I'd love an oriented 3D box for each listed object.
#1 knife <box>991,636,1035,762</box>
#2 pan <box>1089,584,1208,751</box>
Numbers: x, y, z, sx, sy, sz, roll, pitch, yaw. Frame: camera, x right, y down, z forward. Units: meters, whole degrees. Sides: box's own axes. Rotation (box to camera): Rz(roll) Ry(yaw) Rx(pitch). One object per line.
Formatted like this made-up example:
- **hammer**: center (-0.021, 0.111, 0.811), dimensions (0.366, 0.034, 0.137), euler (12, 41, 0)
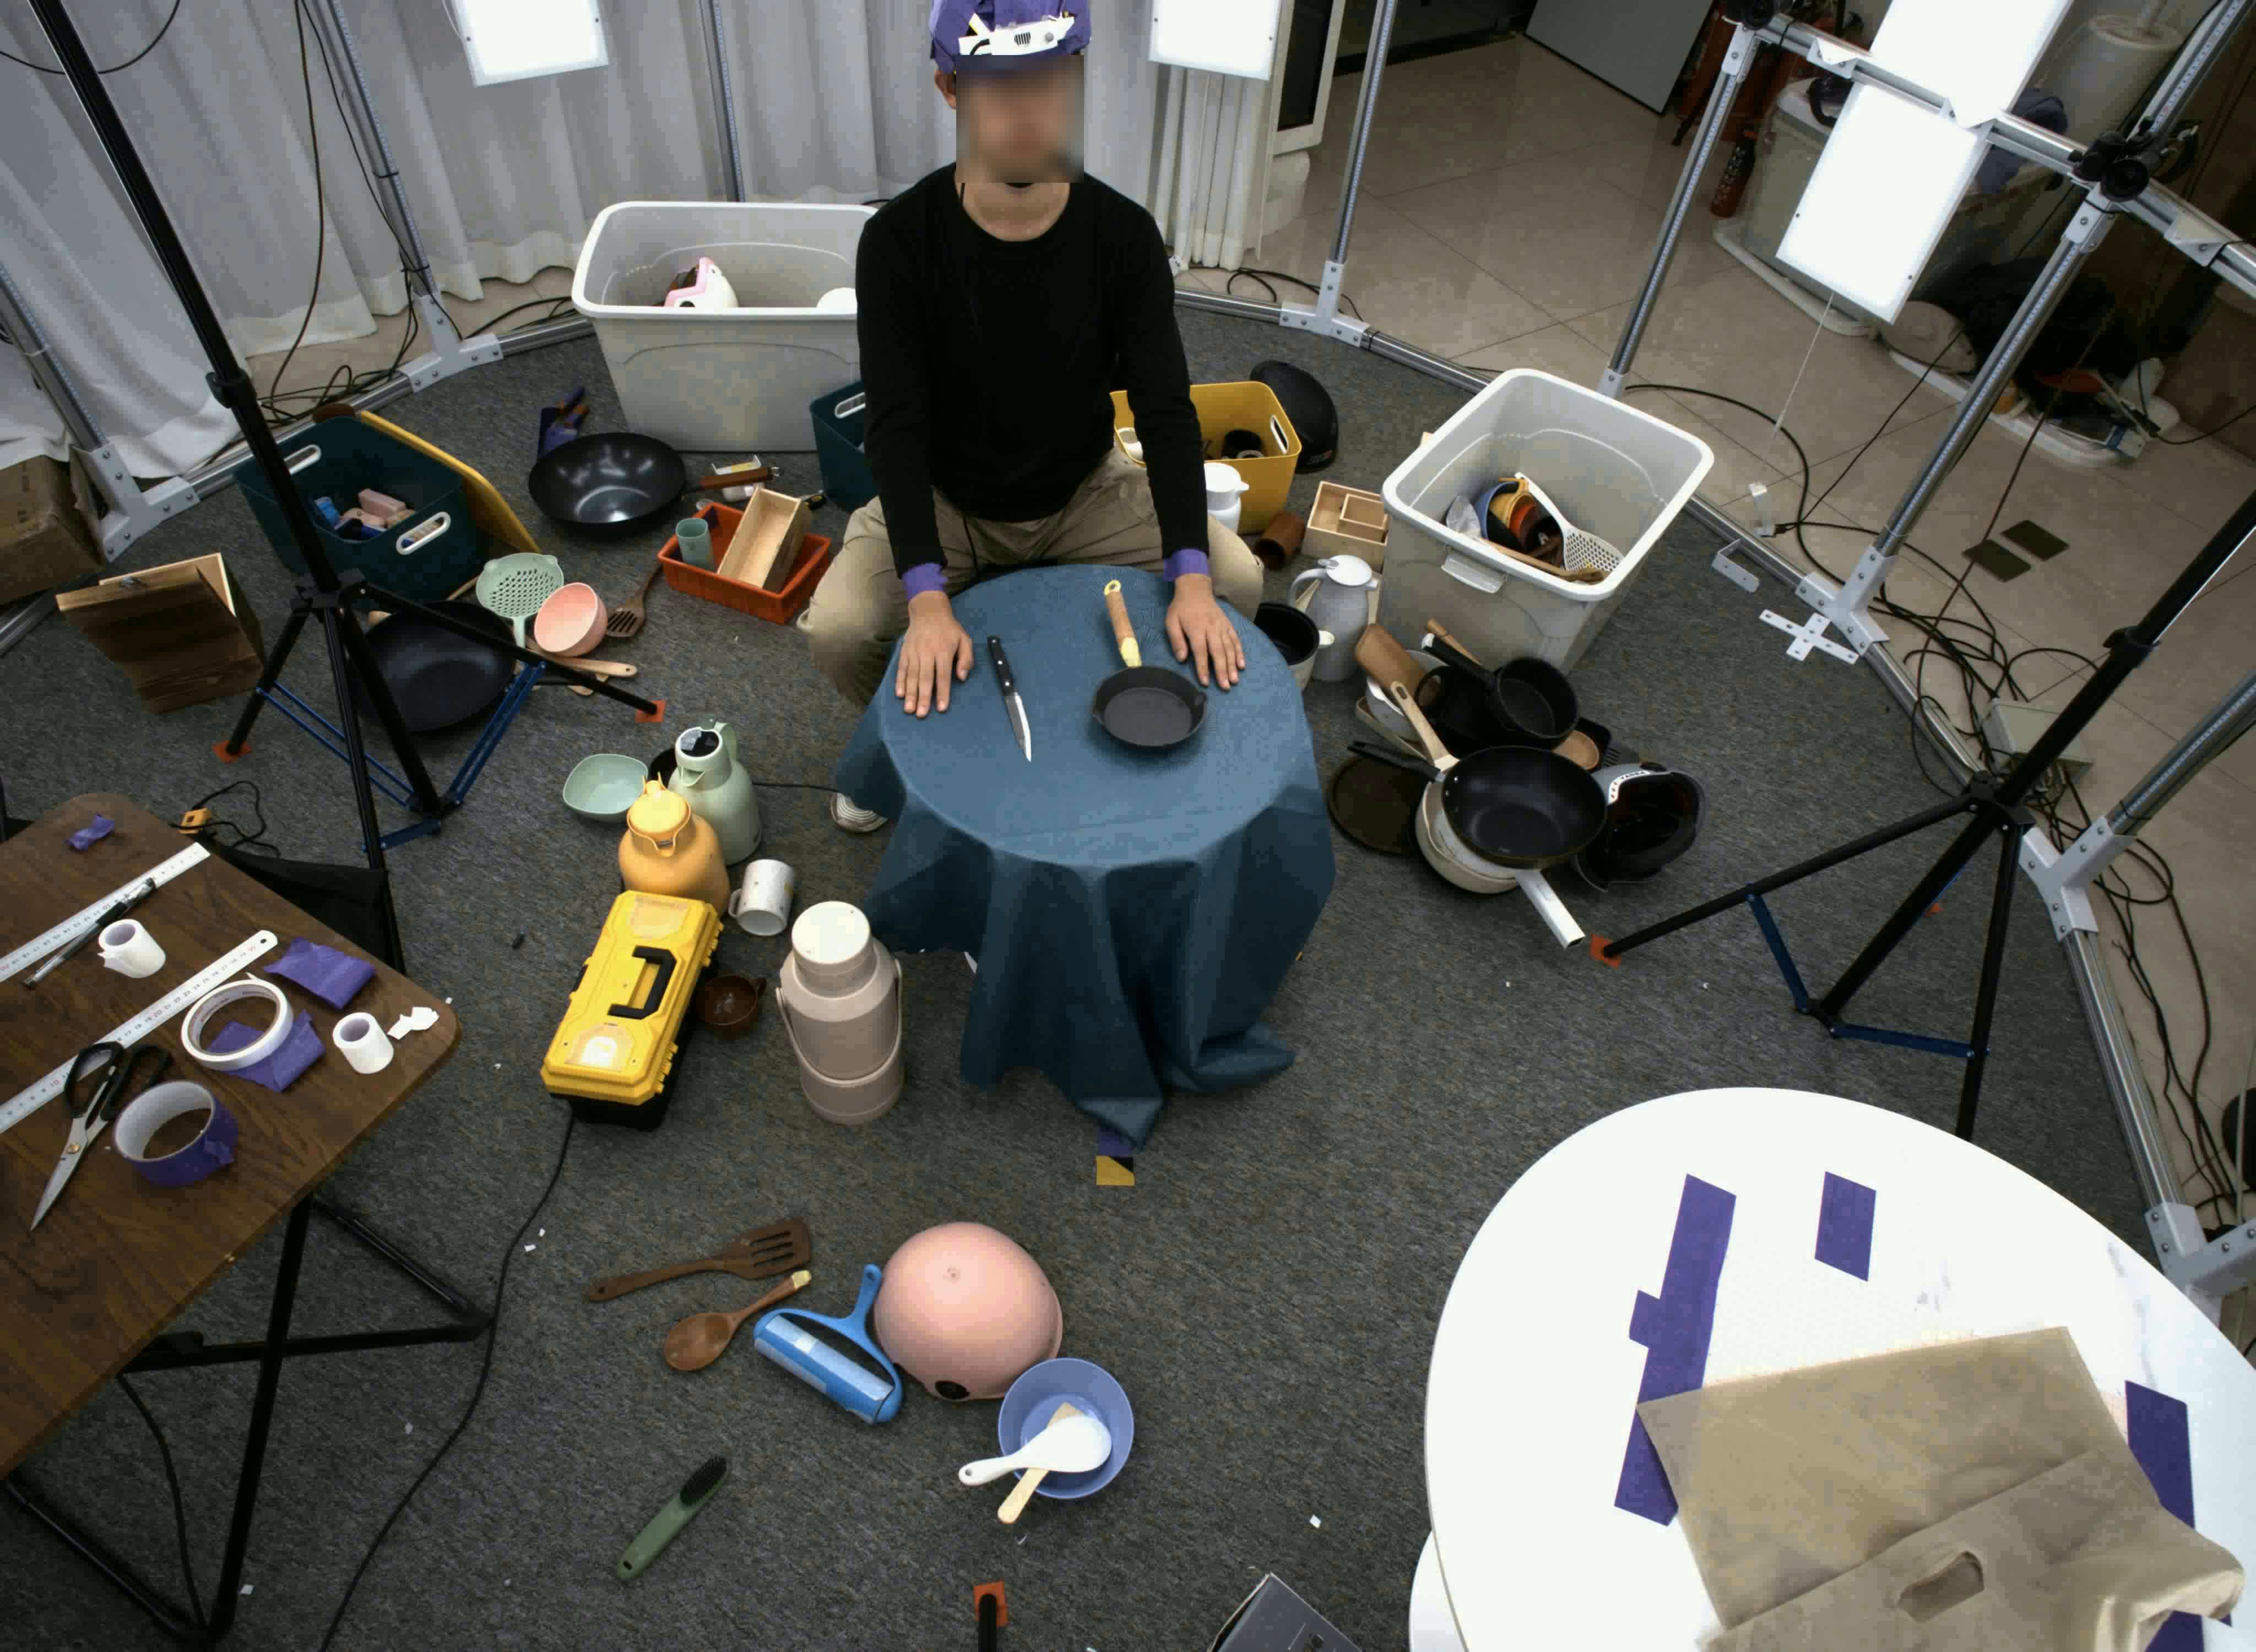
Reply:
- **knife**: center (-0.163, -0.180, 1.809), dimensions (0.024, 0.016, 0.244), euler (-9, 53, -12)
- **pan**: center (0.011, -0.228, 1.838), dimensions (0.169, 0.048, 0.332), euler (-7, 49, -10)
